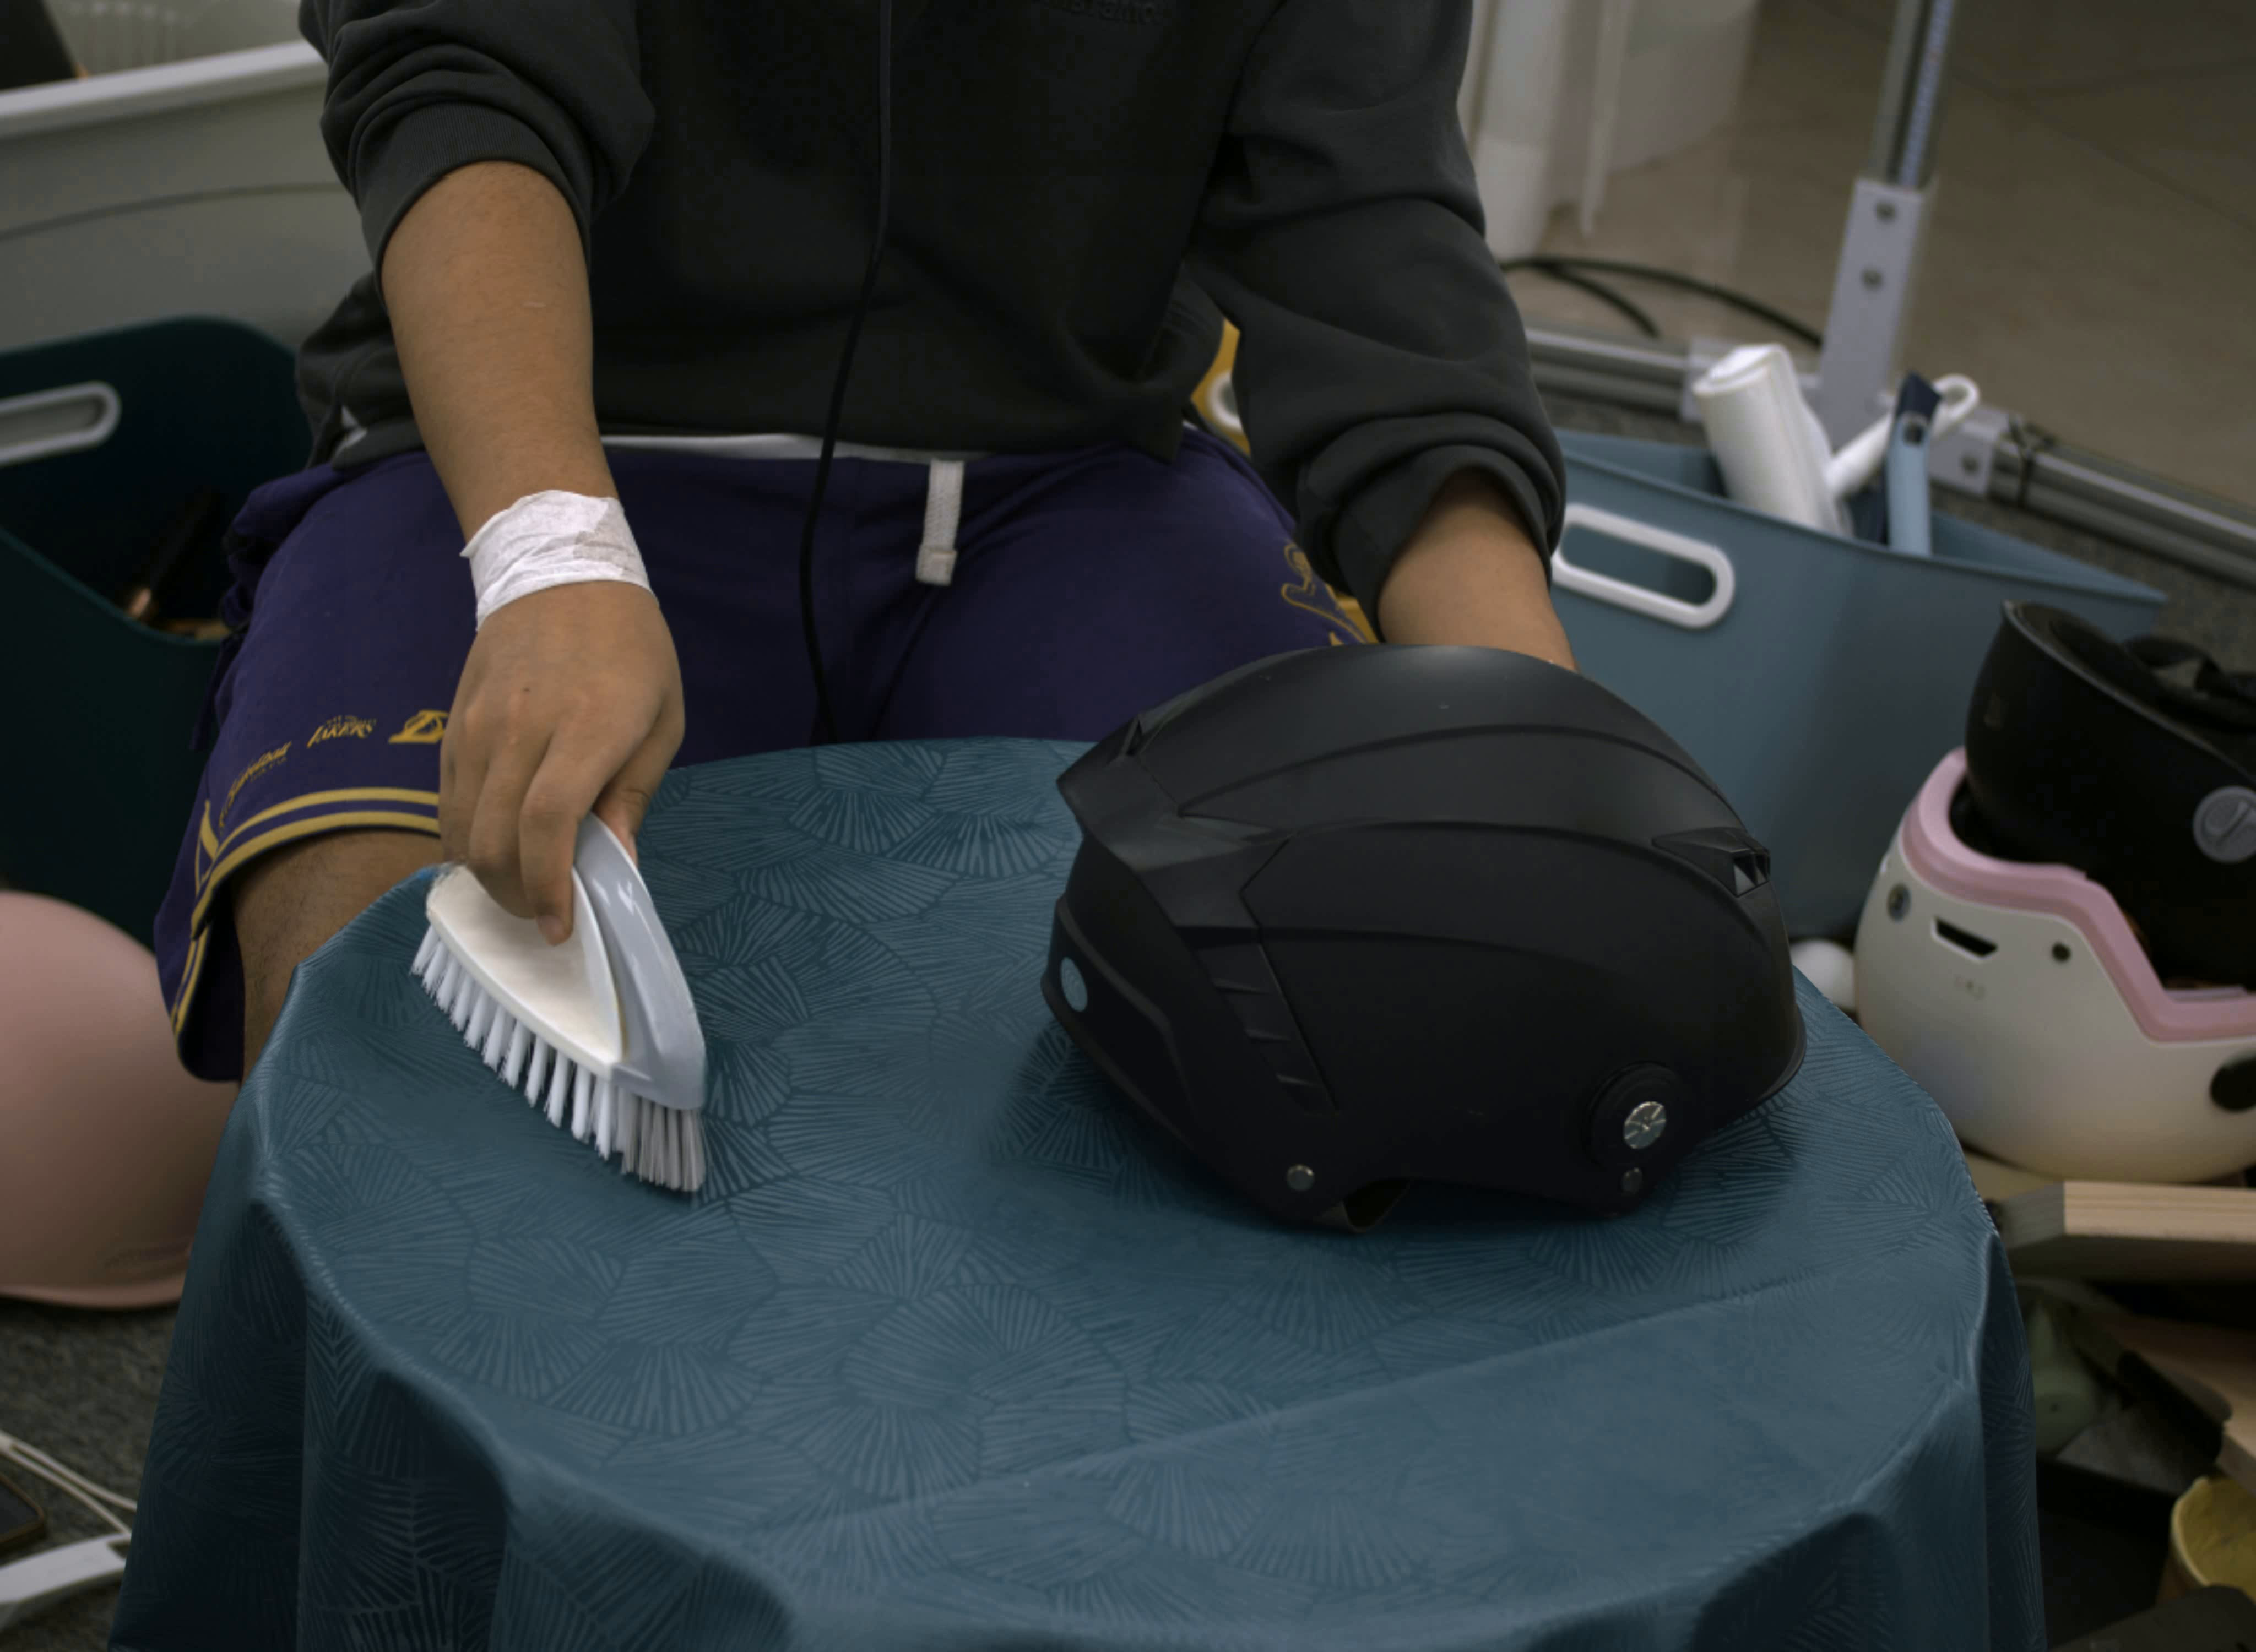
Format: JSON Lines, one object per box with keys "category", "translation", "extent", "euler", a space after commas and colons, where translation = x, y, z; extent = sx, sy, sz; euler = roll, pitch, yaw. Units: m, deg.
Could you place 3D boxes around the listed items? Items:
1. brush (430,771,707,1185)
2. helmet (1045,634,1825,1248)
{"category": "brush", "translation": [-0.182, 0.045, 1.815], "extent": [0.061, 0.094, 0.177], "euler": [-10, 33, -28]}
{"category": "helmet", "translation": [0.107, 0.021, 1.852], "extent": [0.275, 0.172, 0.249], "euler": [-9, 31, -19]}
